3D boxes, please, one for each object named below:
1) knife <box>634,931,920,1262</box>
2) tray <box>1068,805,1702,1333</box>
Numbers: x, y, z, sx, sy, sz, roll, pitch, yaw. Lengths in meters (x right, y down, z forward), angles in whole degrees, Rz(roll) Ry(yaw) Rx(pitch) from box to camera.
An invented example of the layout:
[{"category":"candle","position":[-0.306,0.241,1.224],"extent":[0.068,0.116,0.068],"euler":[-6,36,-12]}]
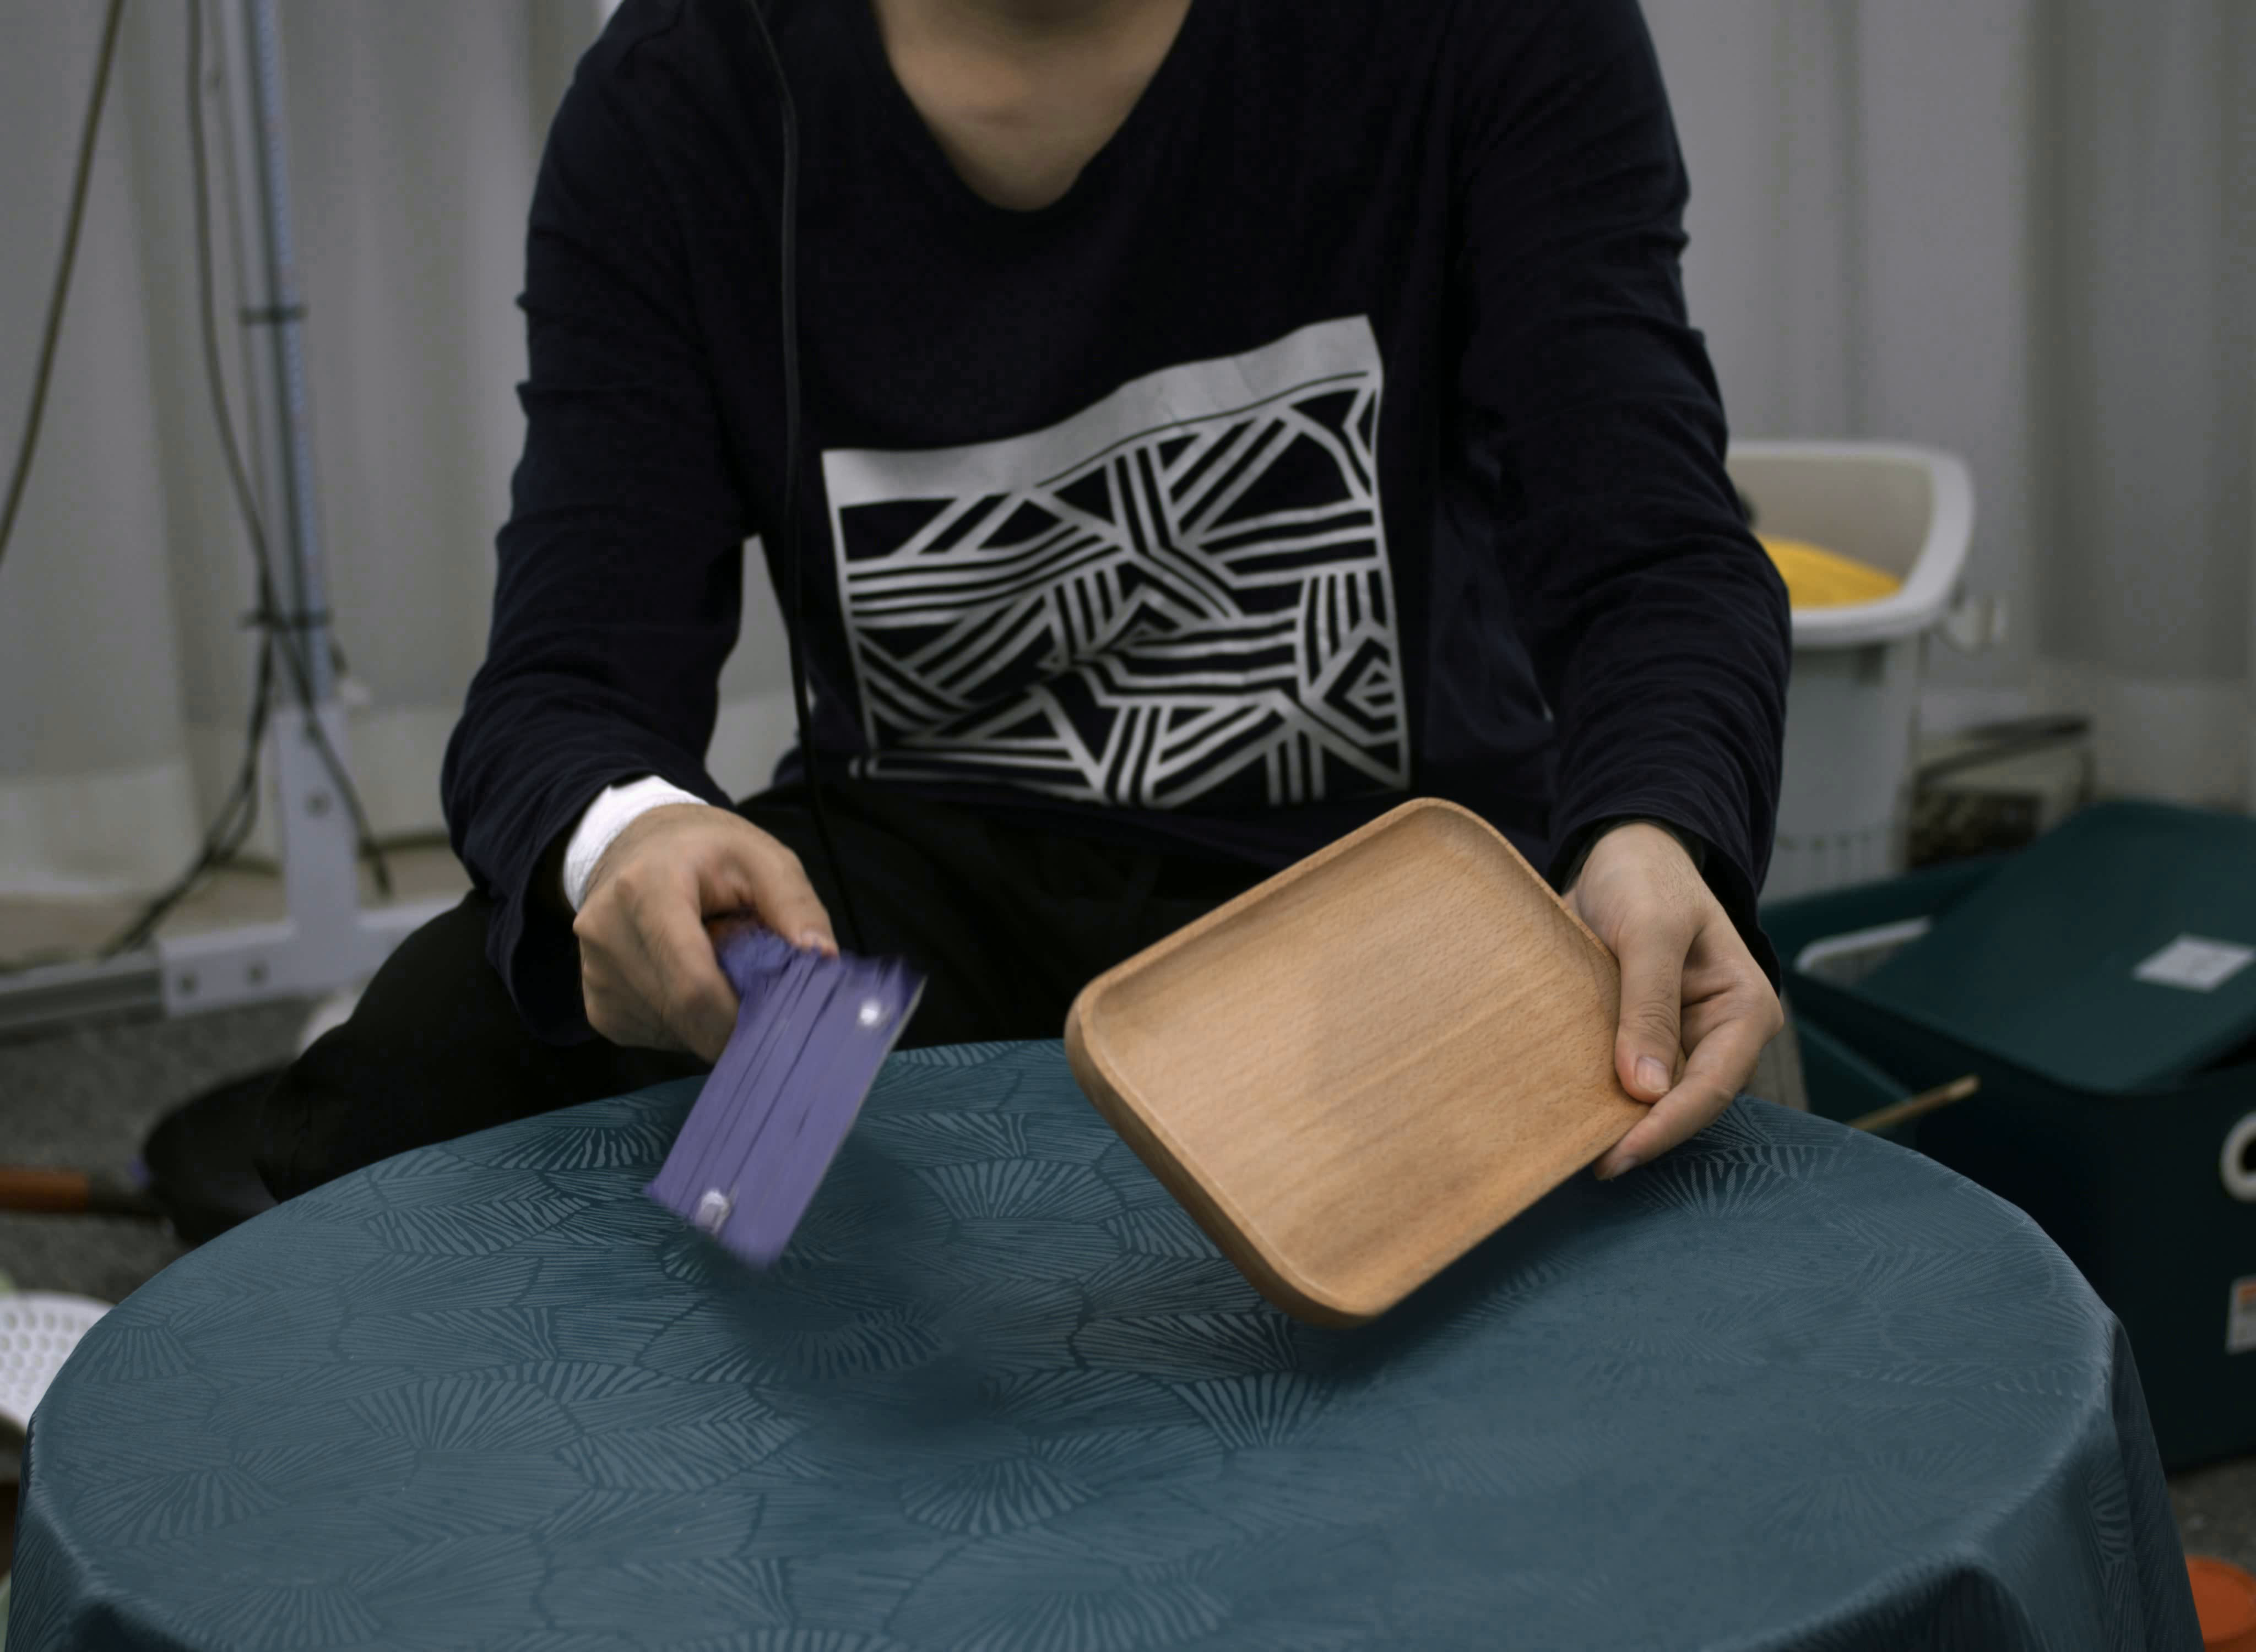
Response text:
[{"category":"knife","position":[-0.120,0.079,1.650],"extent":[0.032,0.104,0.316],"euler":[31,-5,-11]},{"category":"tray","position":[0.080,0.070,1.638],"extent":[0.023,0.131,0.251],"euler":[-46,-13,33]}]
